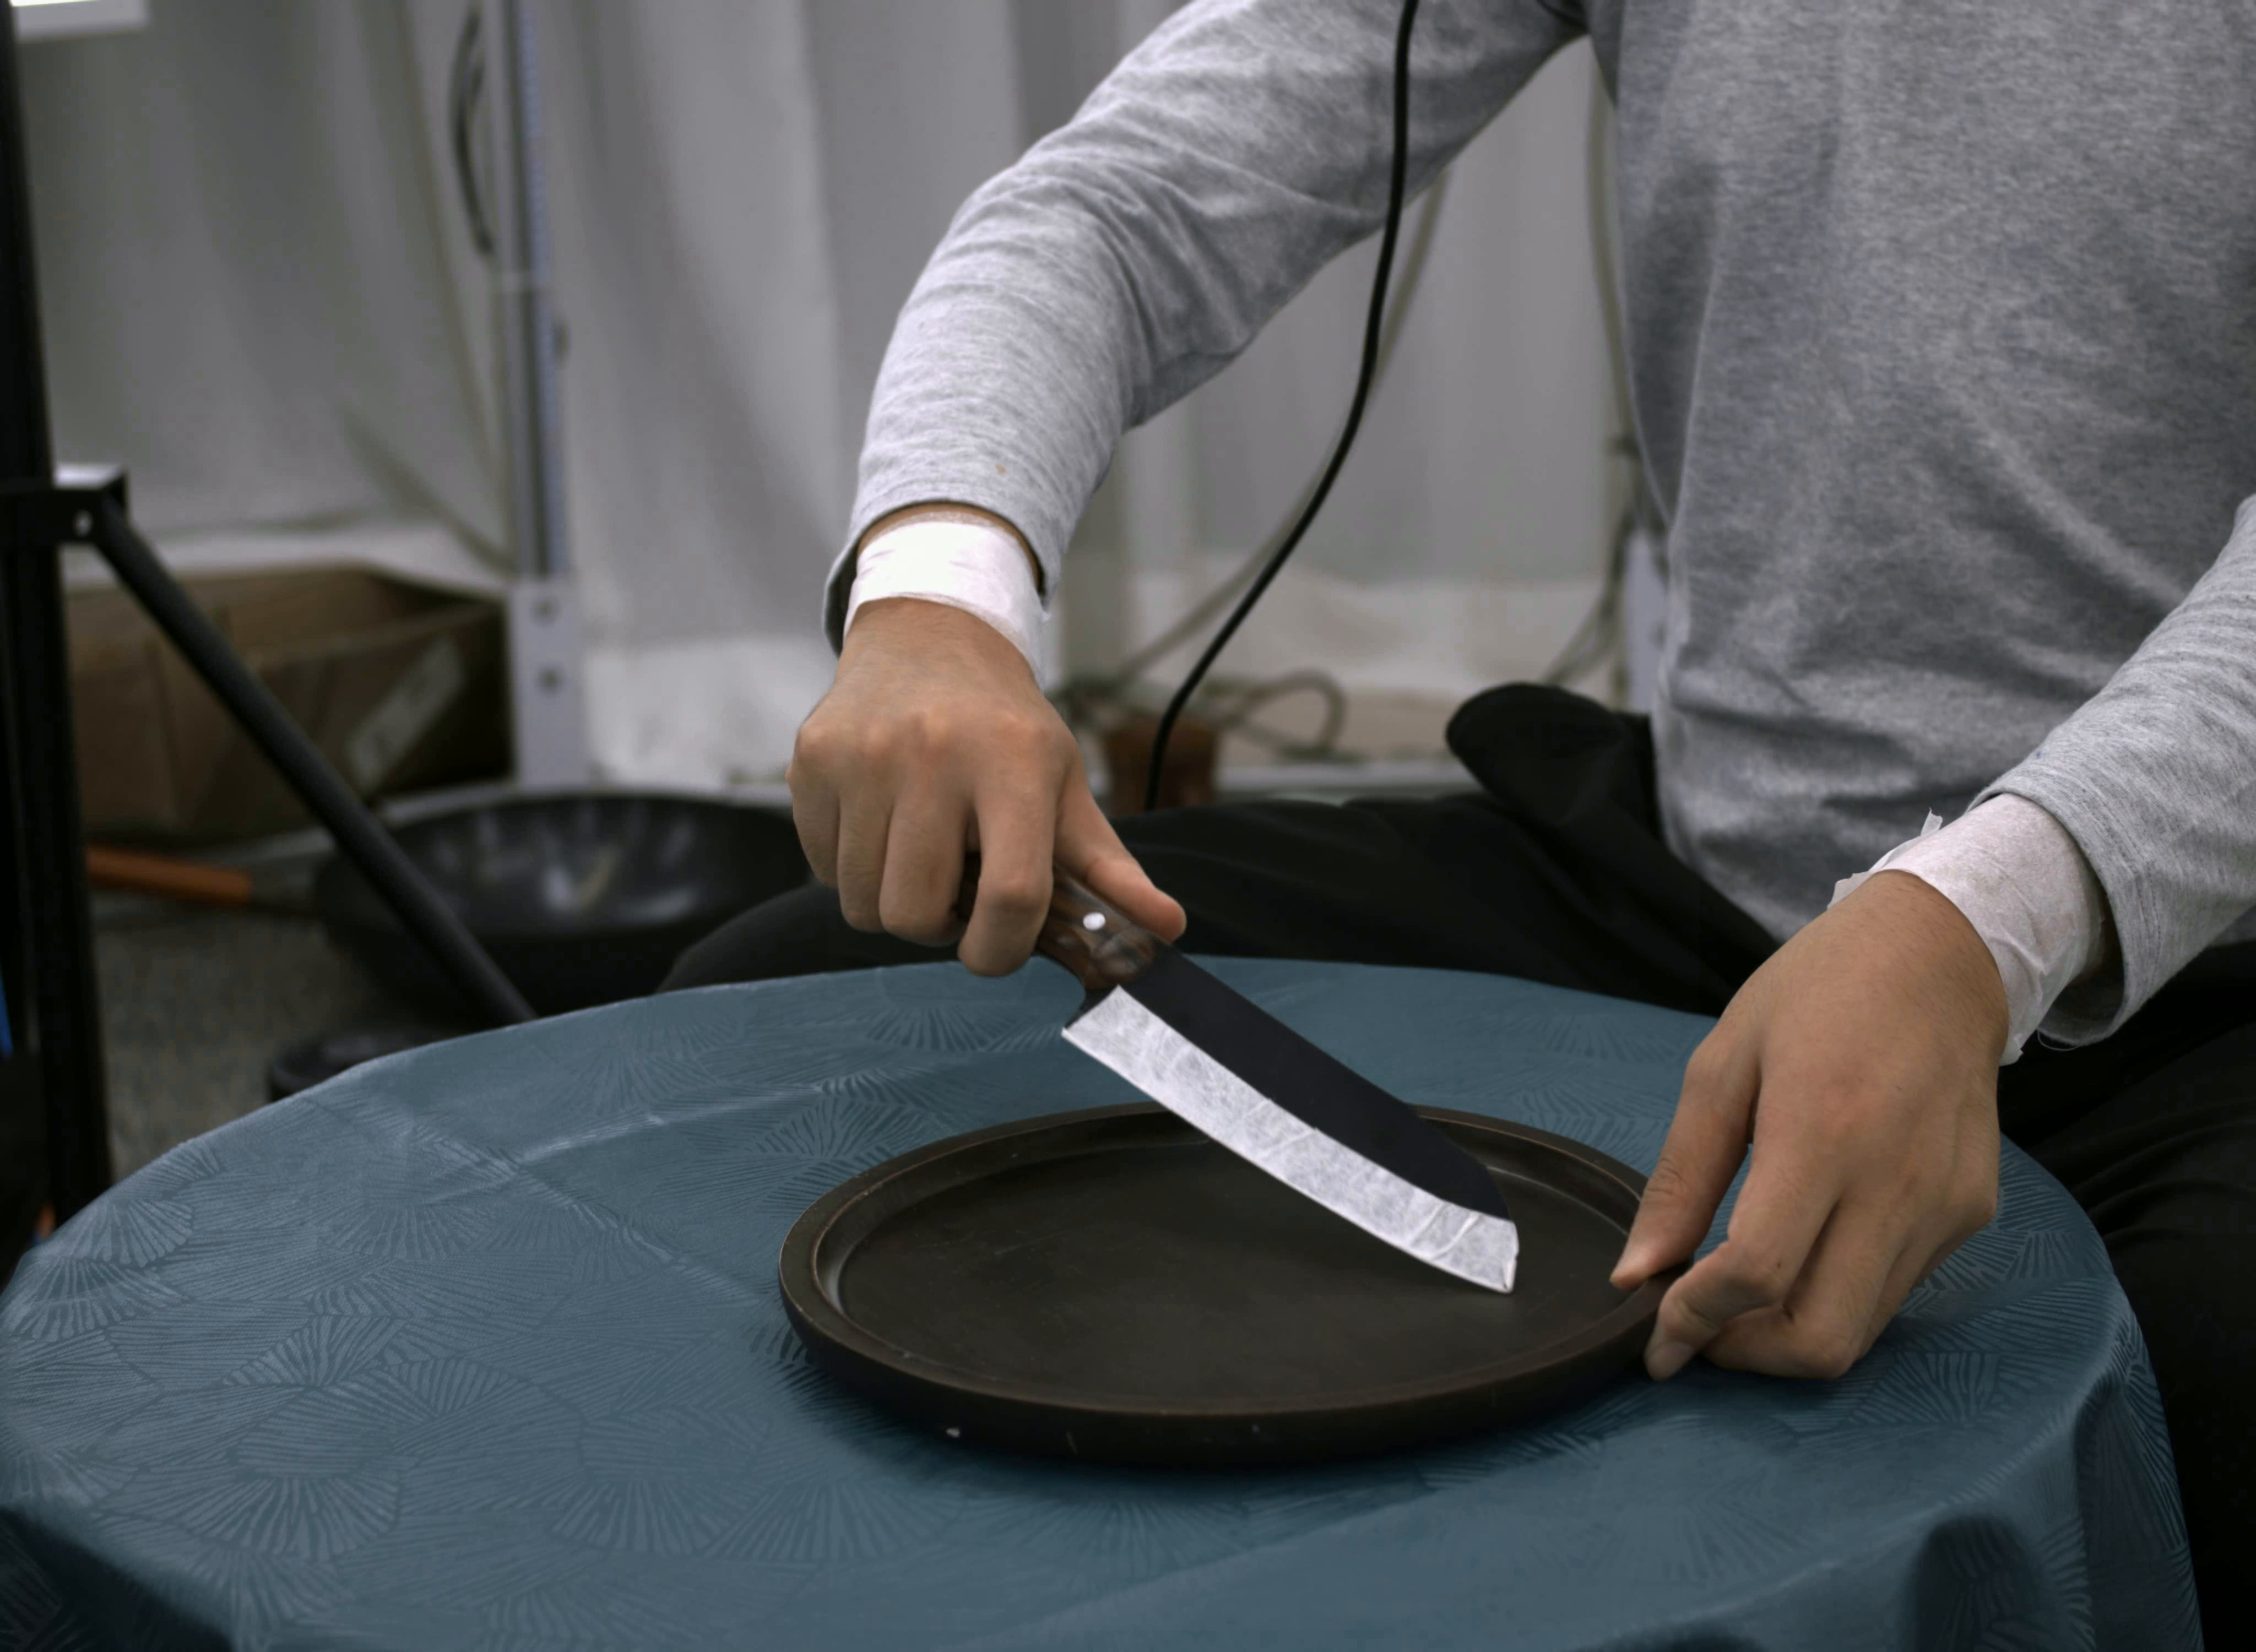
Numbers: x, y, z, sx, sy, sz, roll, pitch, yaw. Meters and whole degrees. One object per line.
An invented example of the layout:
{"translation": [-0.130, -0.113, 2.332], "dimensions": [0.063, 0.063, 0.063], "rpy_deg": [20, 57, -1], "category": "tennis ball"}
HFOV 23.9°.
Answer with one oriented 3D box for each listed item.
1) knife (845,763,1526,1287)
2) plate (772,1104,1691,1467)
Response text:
{"translation": [0.013, 0.055, 1.527], "dimensions": [0.050, 0.020, 0.296], "rpy_deg": [-37, 49, -21], "category": "knife"}
{"translation": [0.029, 0.123, 1.459], "dimensions": [0.253, 0.029, 0.256], "rpy_deg": [-3, 14, -1], "category": "plate"}
